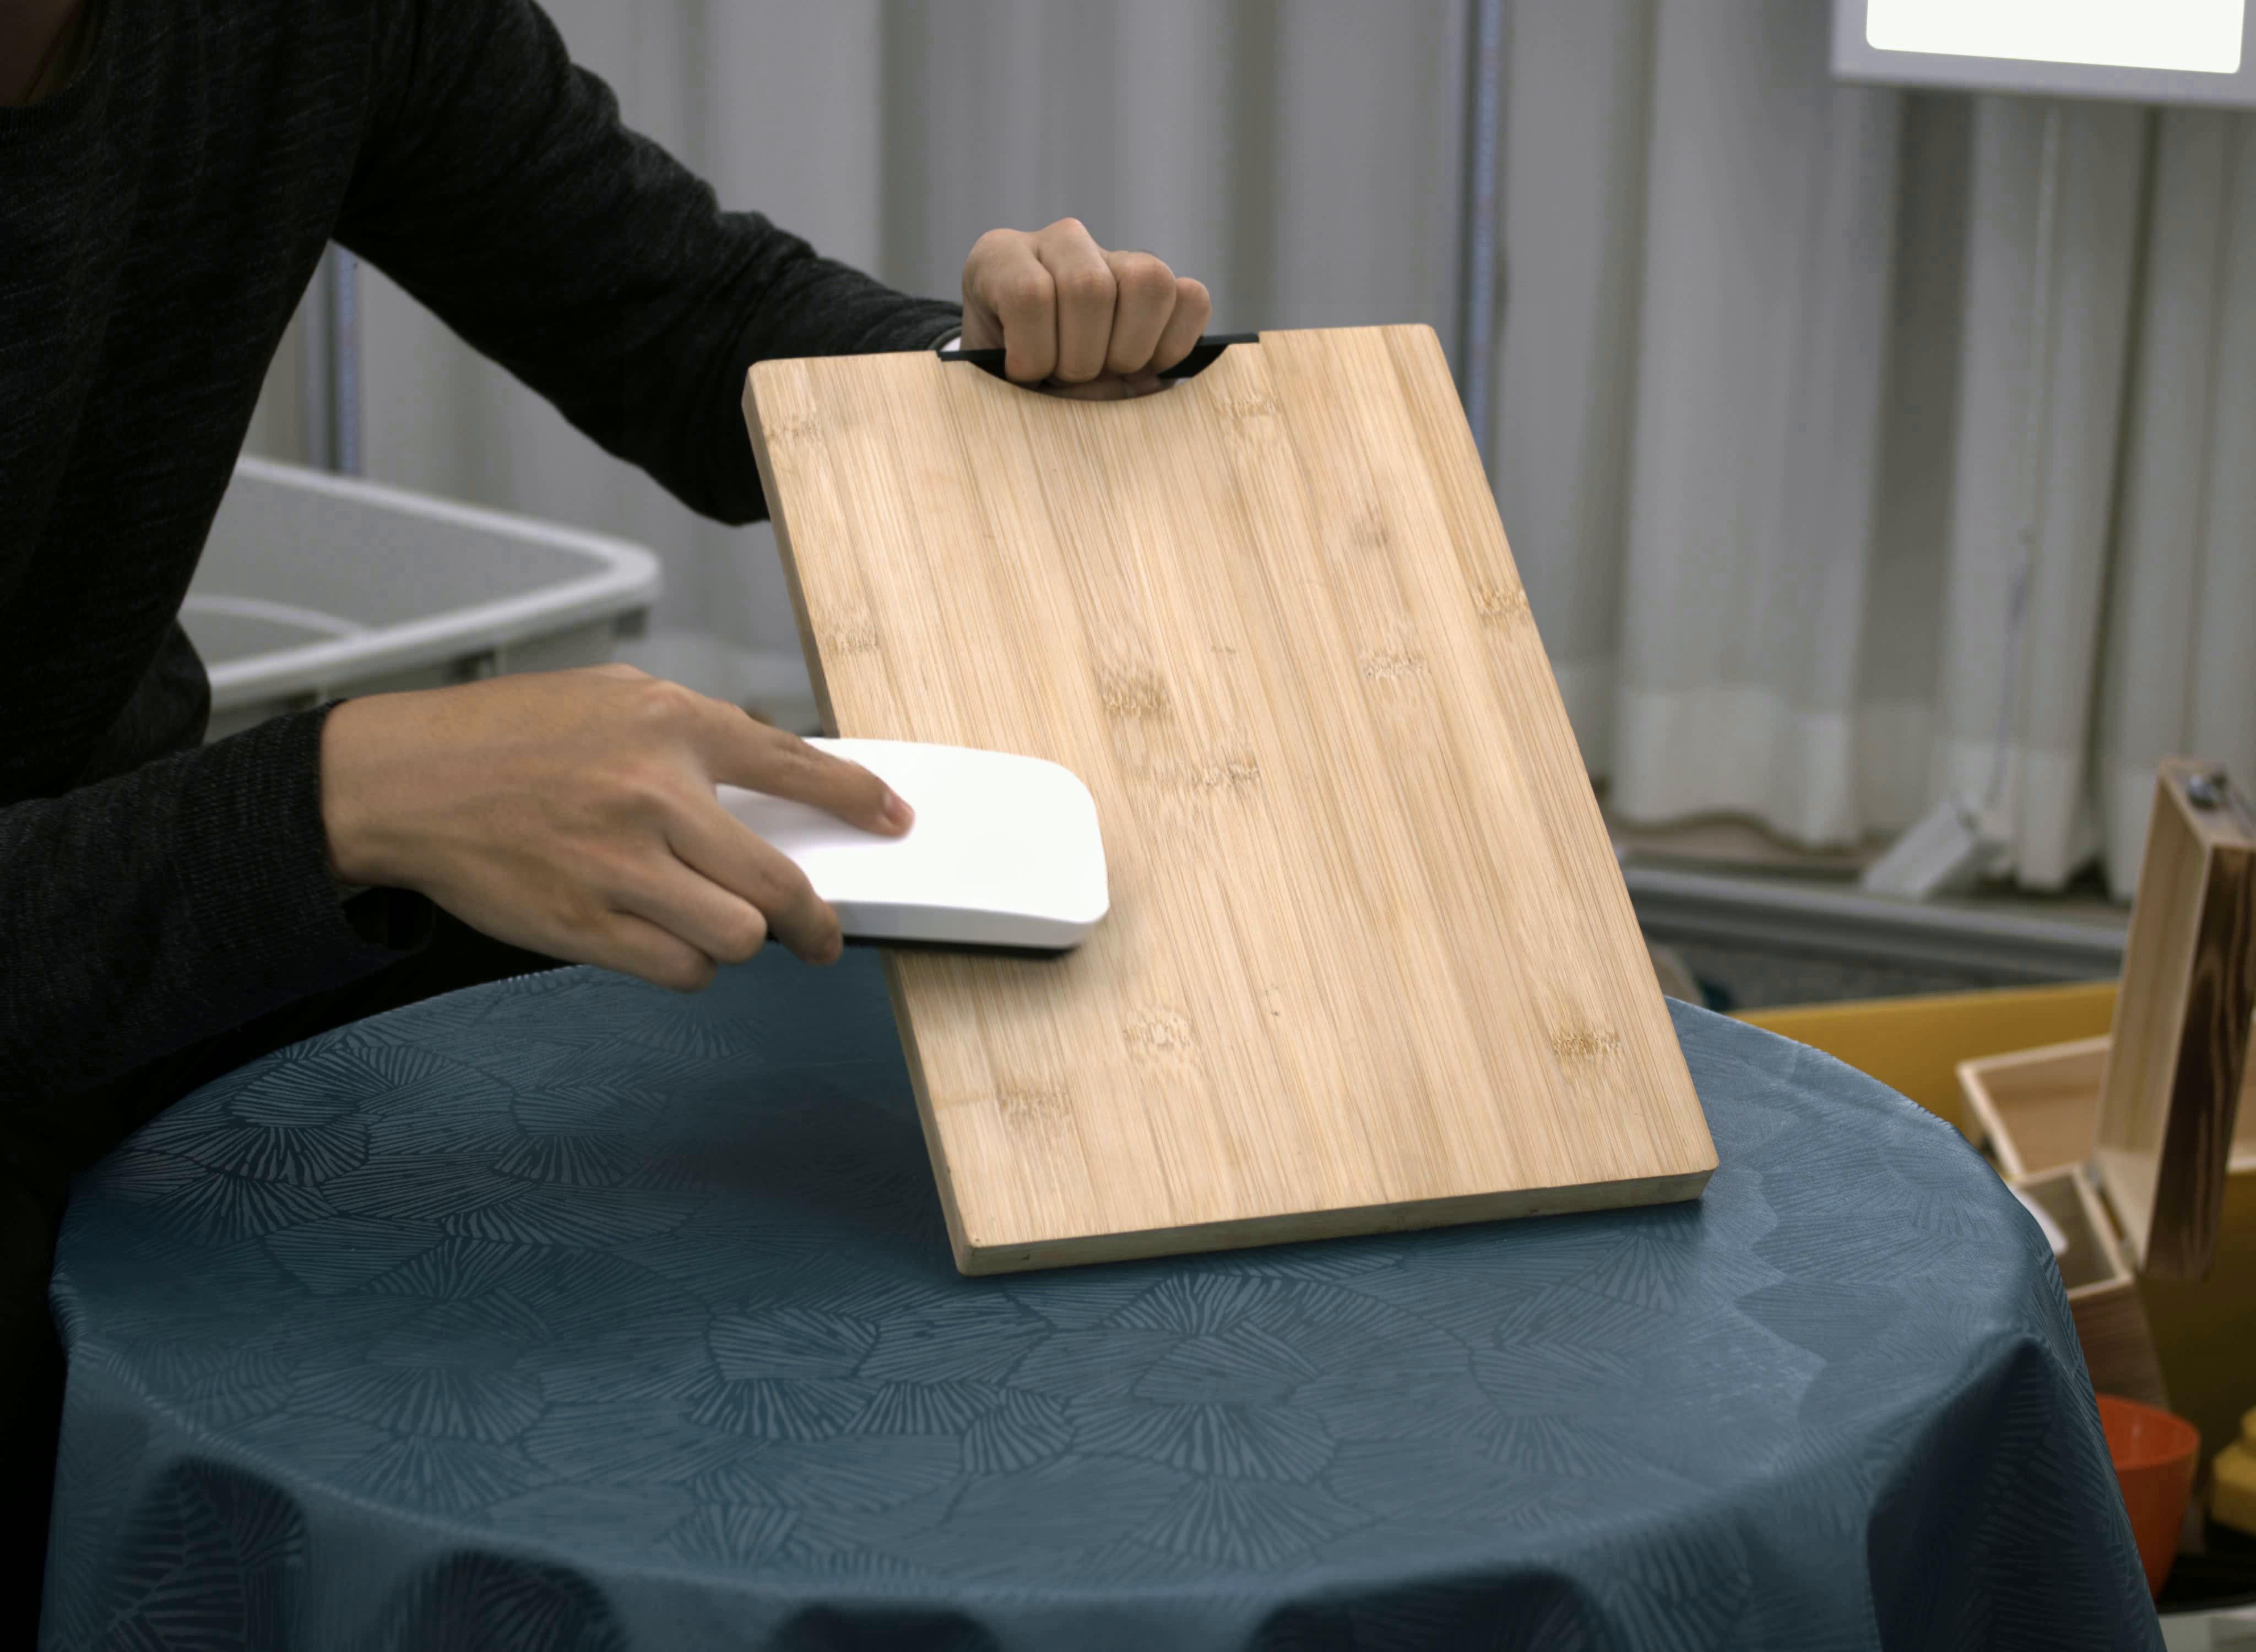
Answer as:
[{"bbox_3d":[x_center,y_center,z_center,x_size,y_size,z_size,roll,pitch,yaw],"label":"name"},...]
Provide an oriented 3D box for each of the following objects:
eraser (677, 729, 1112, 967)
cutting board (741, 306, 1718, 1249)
[{"bbox_3d":[-0.071,0.007,1.582,0.132,0.035,0.063,5,52,-20],"label":"eraser"},{"bbox_3d":[0.026,-0.023,1.668,0.251,0.024,0.345,-5,57,-18],"label":"cutting board"}]
